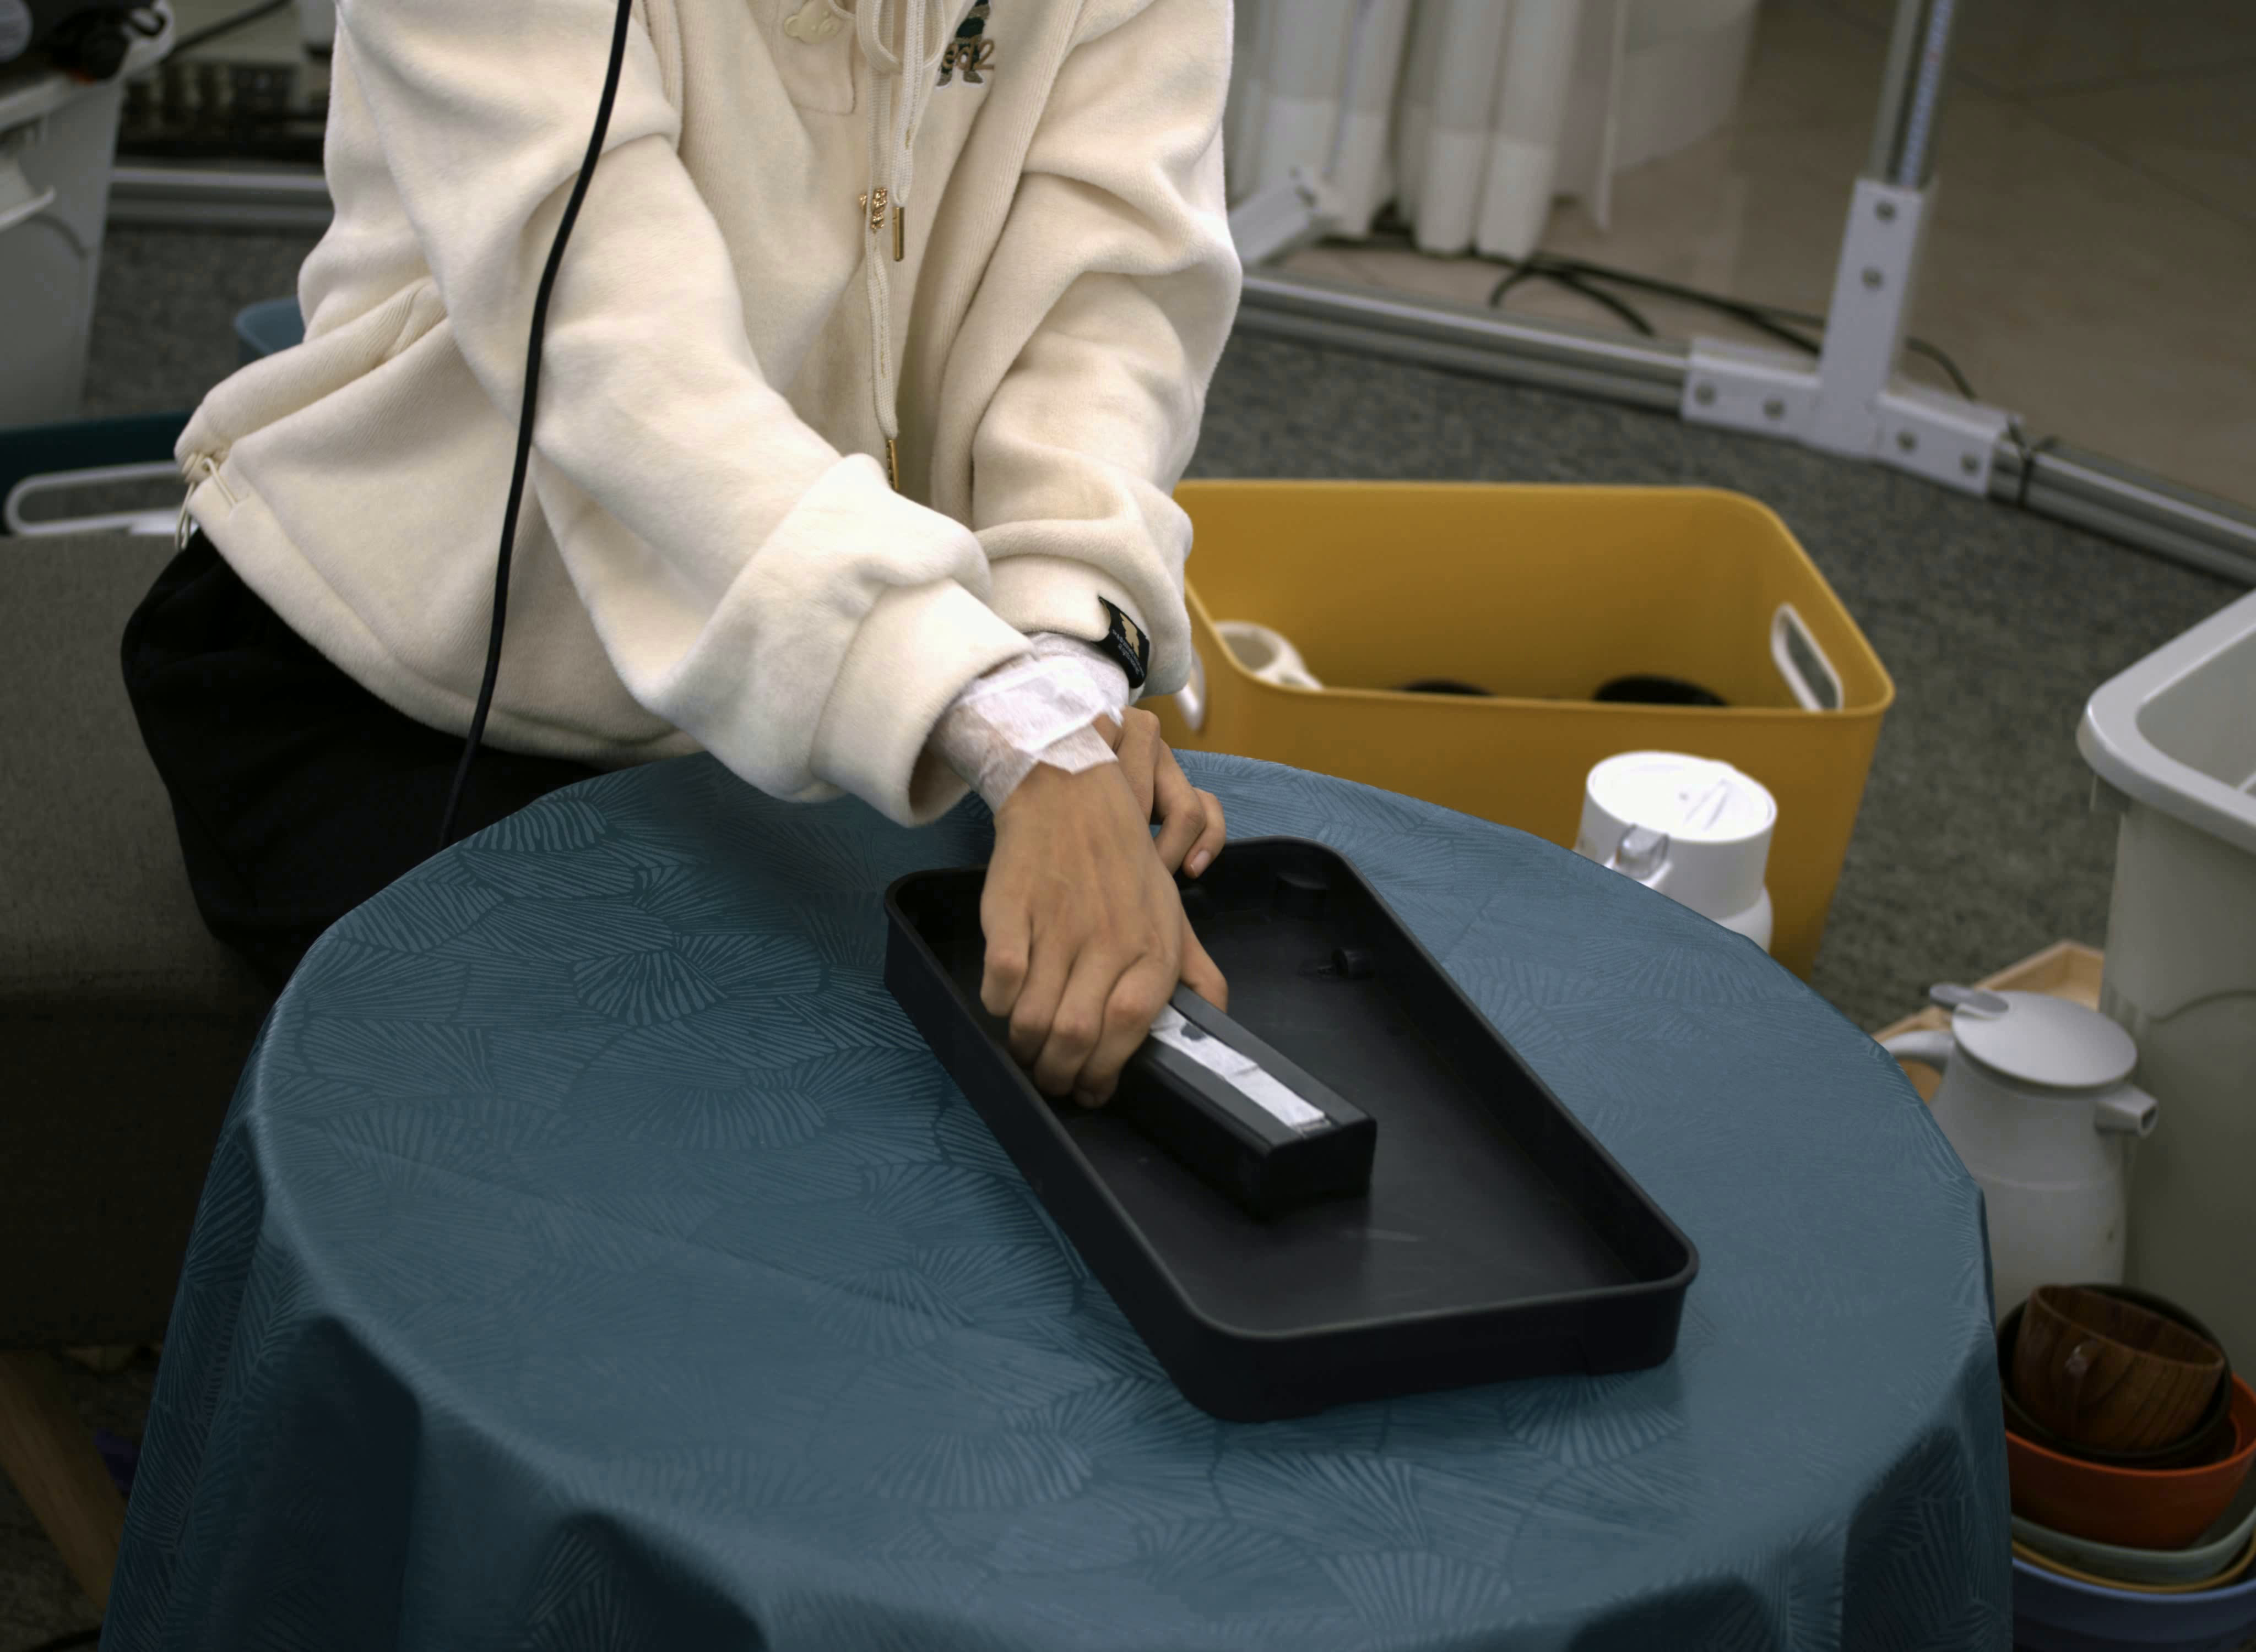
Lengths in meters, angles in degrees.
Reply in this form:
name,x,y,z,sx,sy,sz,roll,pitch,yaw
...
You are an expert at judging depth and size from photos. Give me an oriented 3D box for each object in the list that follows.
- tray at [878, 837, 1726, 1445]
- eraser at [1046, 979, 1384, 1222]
name,x,y,z,sx,sy,sz,roll,pitch,yaw
tray,0.051,0.101,1.817,0.183,0.037,0.321,-7,30,-25
eraser,0.029,0.093,1.829,0.053,0.030,0.126,-10,30,-37
